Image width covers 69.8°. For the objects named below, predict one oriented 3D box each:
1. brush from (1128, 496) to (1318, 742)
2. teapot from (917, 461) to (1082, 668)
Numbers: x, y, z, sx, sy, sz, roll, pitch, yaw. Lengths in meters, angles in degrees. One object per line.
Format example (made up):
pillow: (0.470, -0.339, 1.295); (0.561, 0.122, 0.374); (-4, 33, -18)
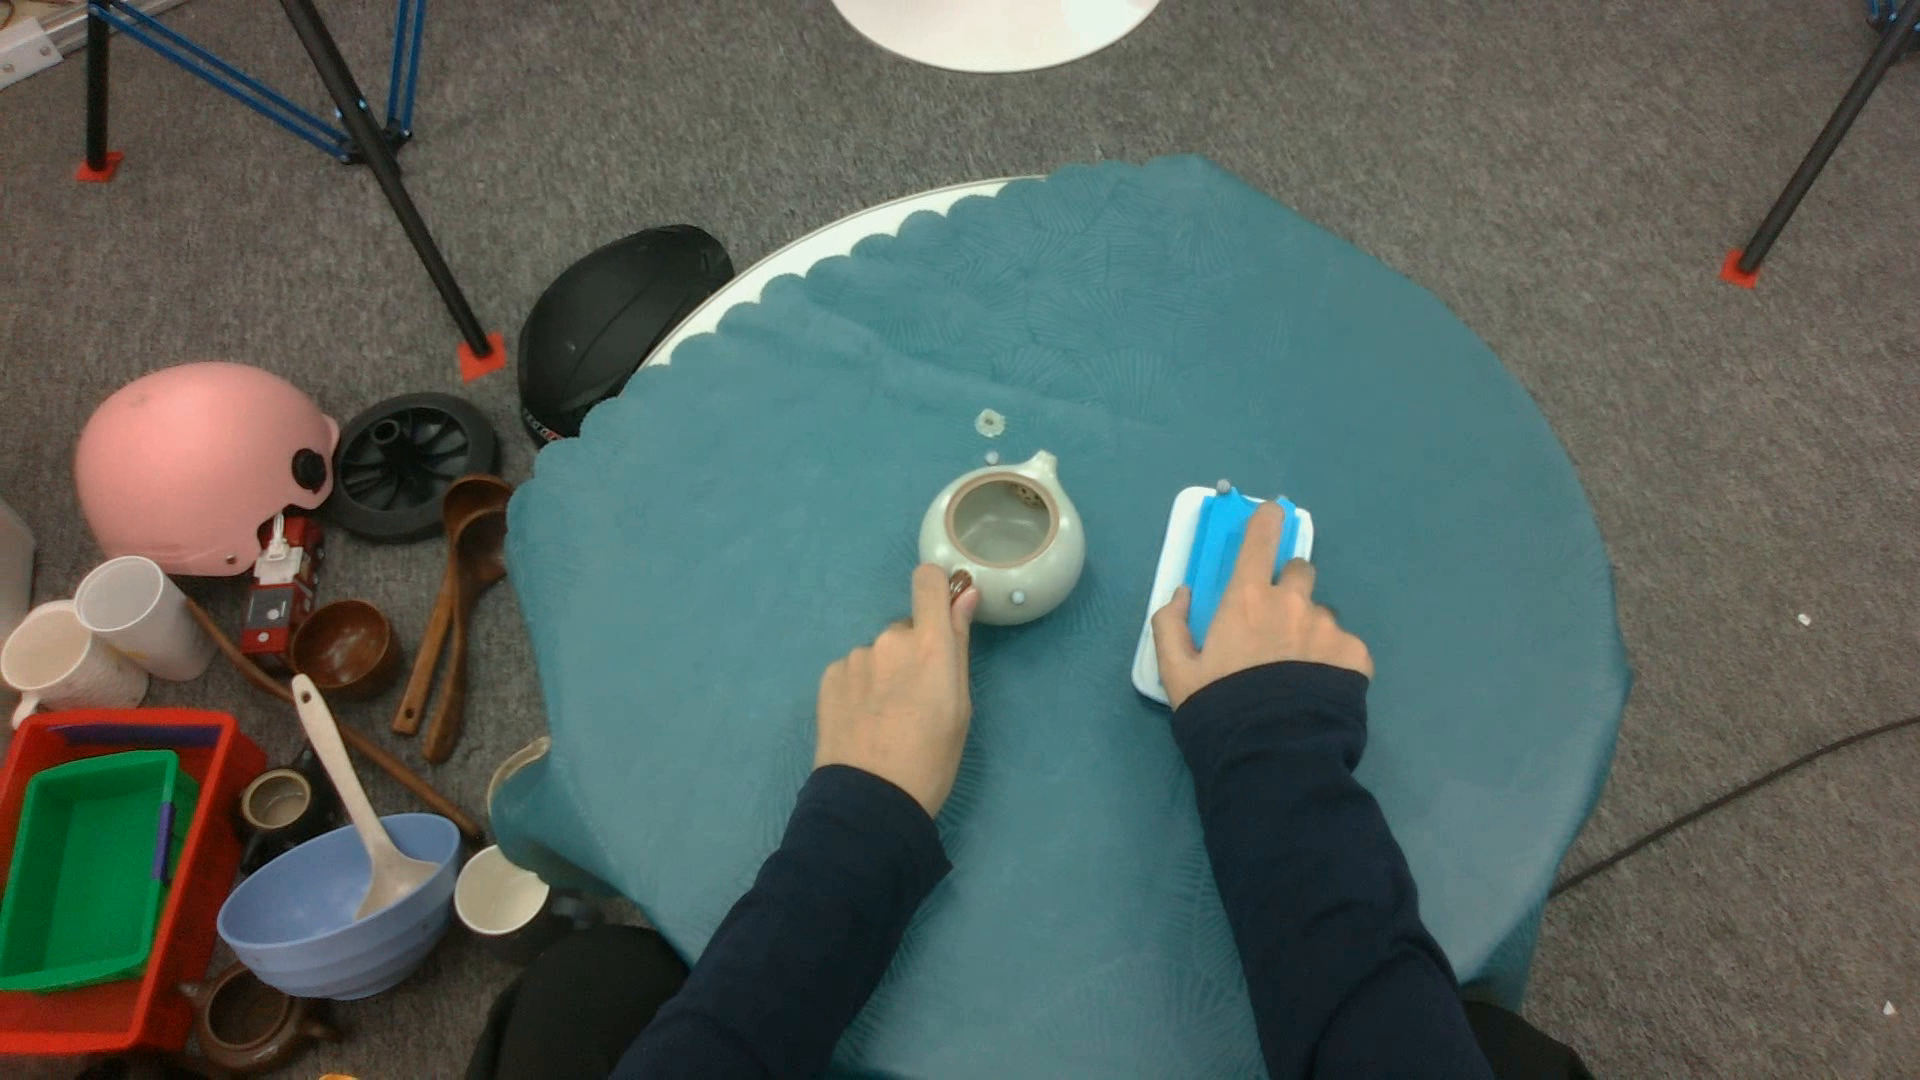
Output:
brush: (0.145, 0.035, 0.744); (0.084, 0.055, 0.144); (14, 57, 12)
teapot: (0.018, 0.017, 0.762); (0.092, 0.059, 0.128); (24, 60, 15)
